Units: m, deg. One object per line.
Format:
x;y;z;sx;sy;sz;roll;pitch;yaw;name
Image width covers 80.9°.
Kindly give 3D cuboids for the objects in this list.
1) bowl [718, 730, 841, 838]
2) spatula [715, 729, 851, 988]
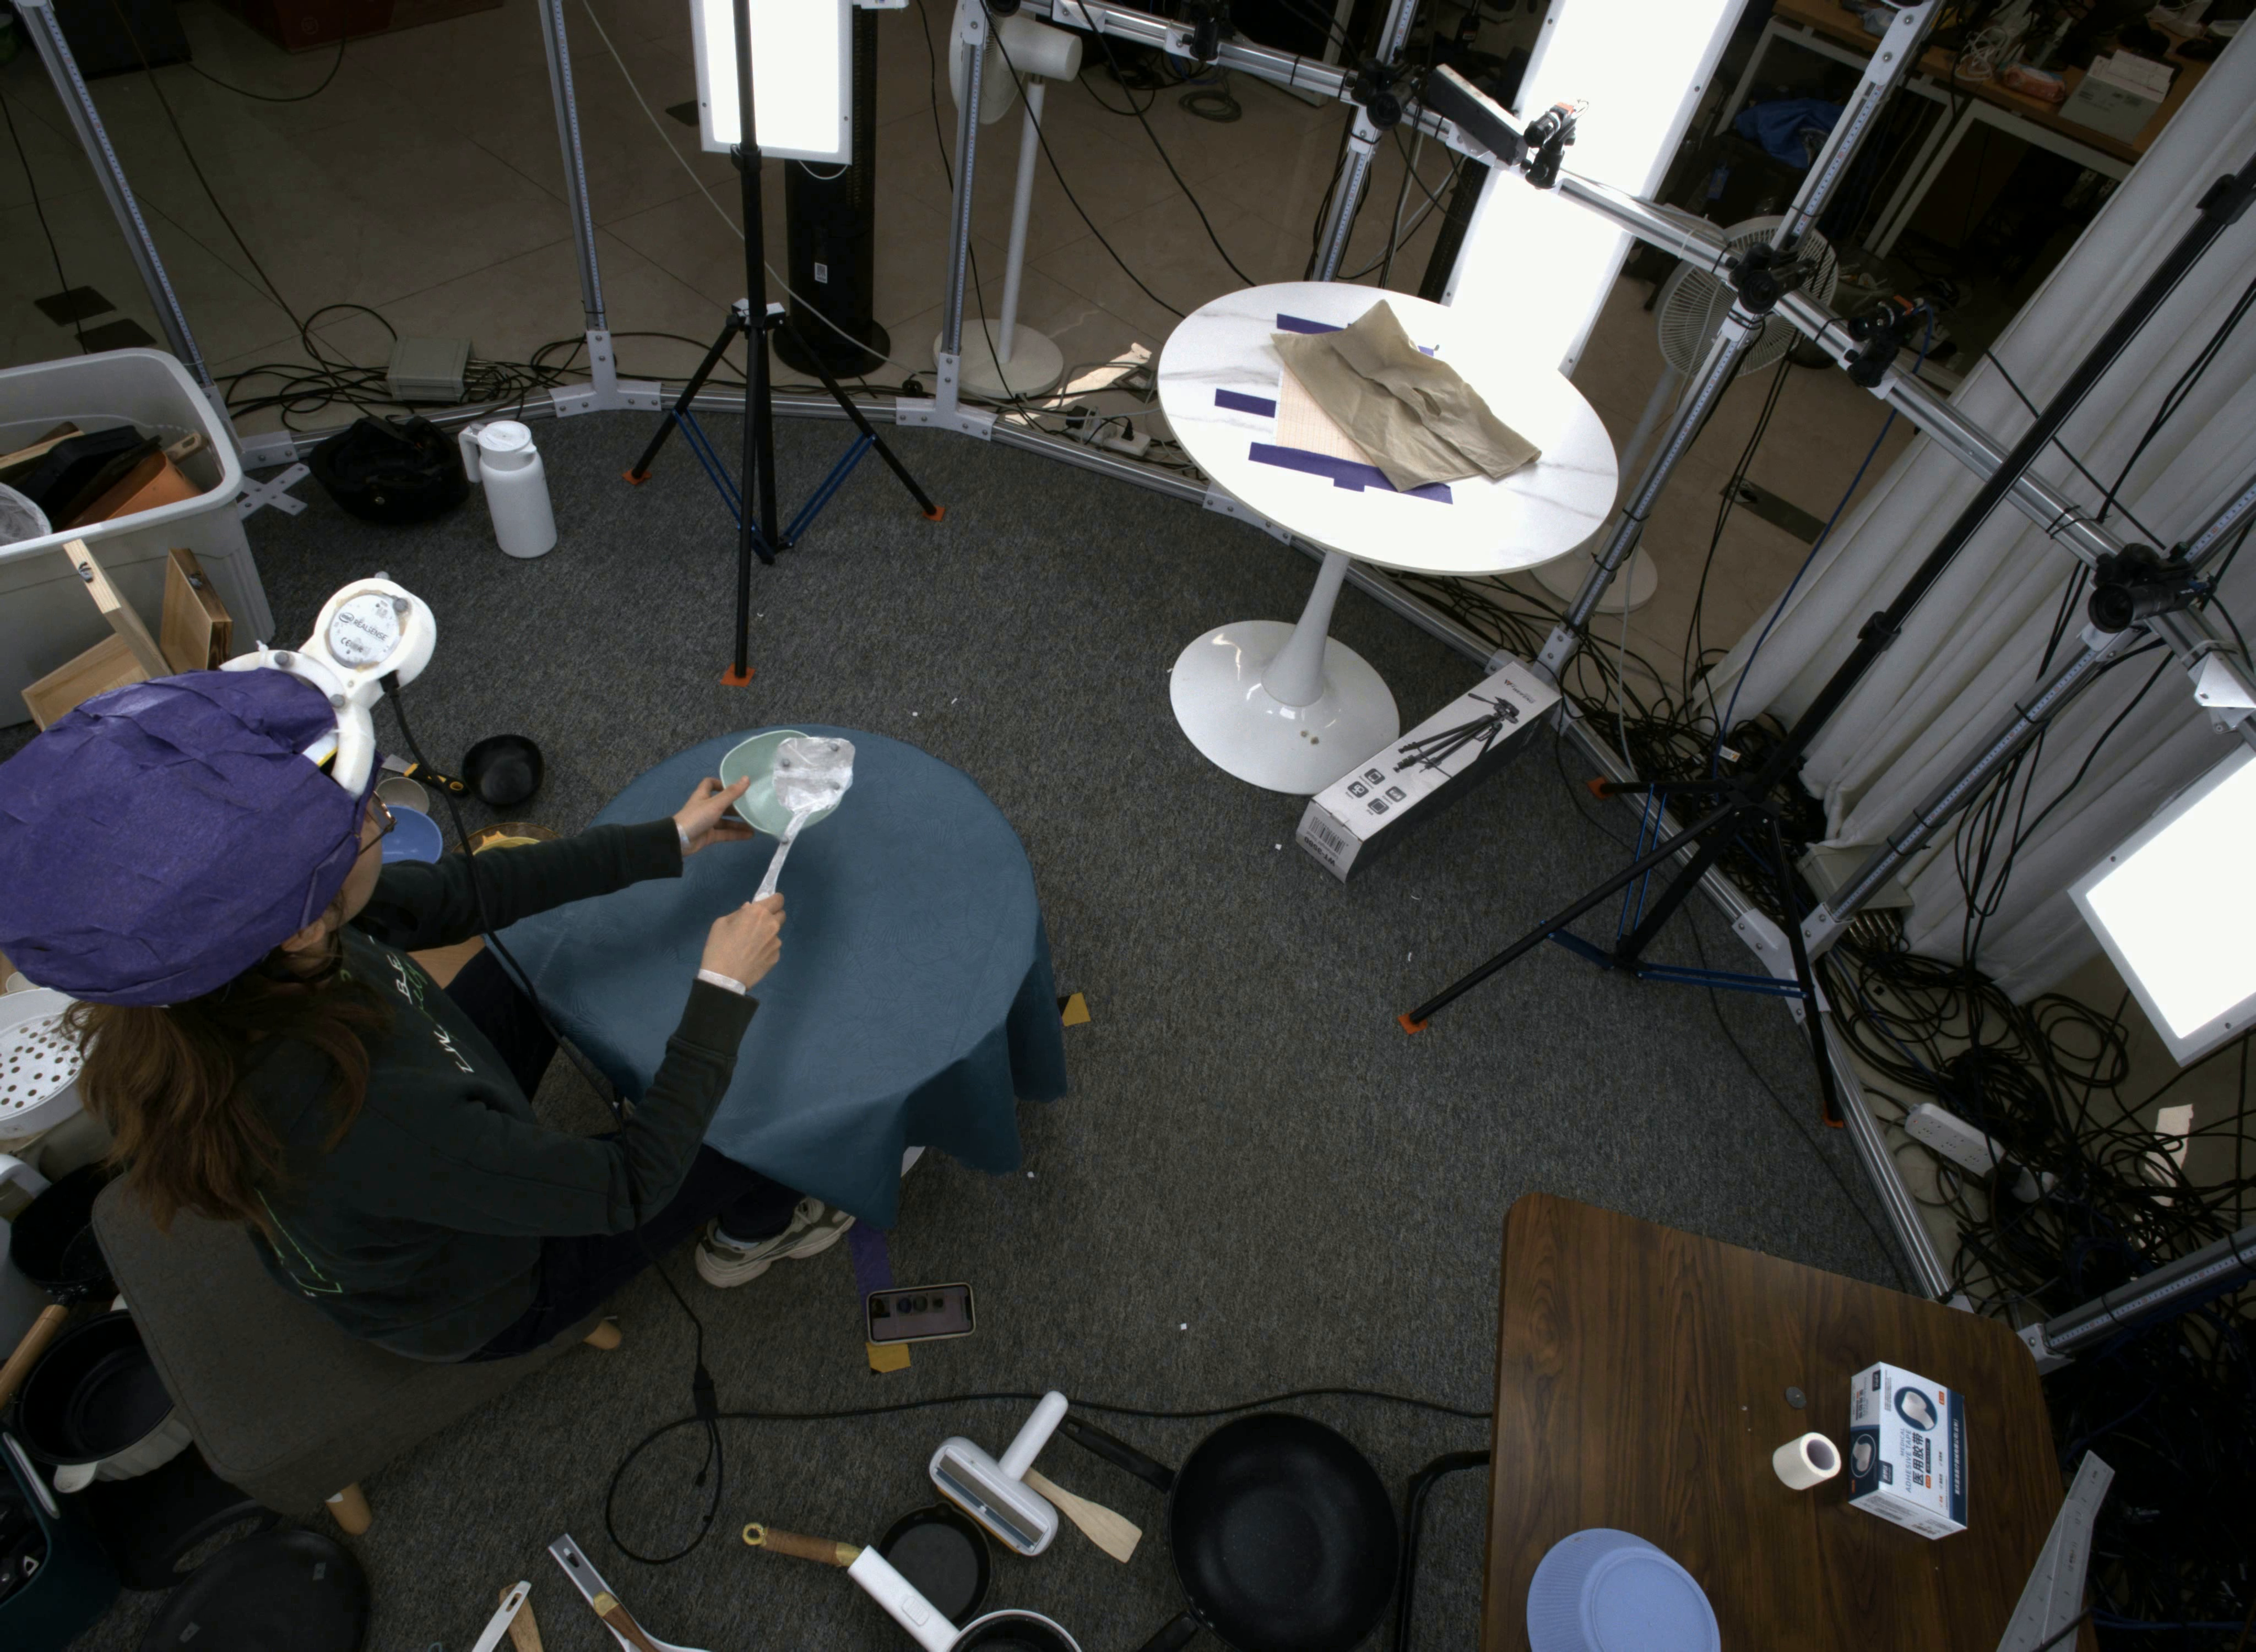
-0.437;-0.043;1.619;0.152;0.059;0.149;11;59;-16;bowl
-0.395;0.024;1.440;0.097;0.046;0.358;5;44;4;spatula
